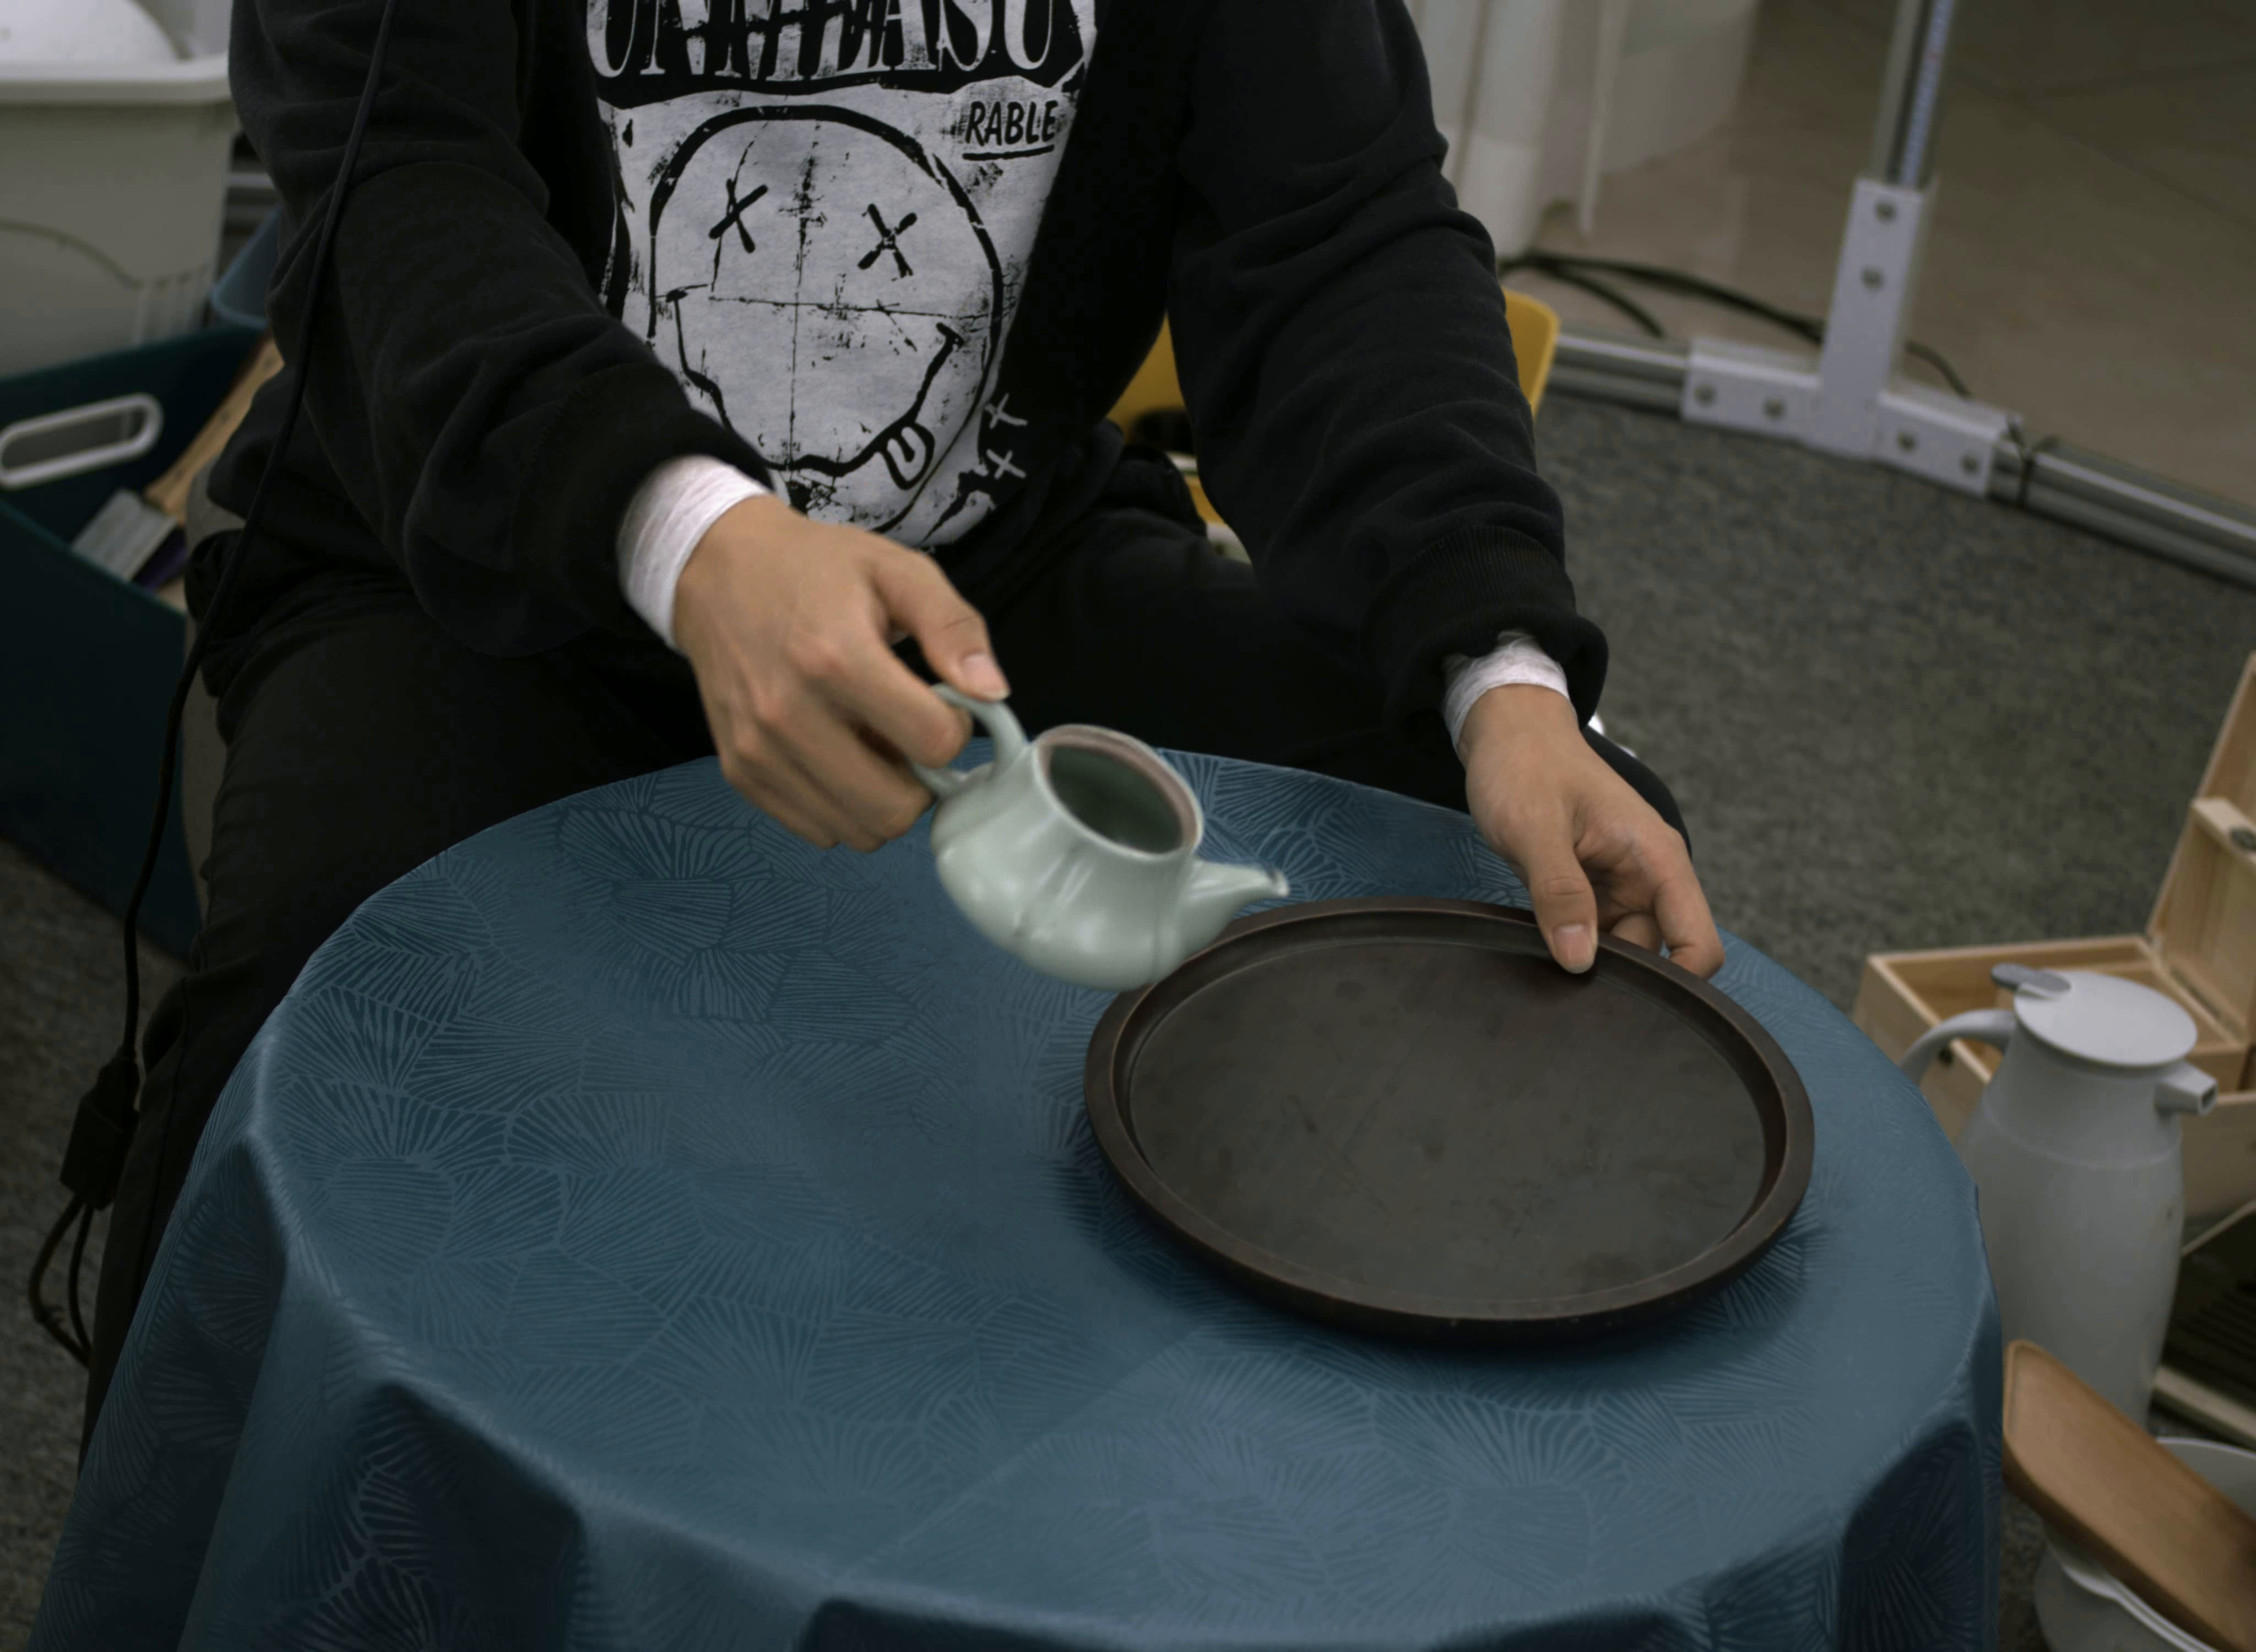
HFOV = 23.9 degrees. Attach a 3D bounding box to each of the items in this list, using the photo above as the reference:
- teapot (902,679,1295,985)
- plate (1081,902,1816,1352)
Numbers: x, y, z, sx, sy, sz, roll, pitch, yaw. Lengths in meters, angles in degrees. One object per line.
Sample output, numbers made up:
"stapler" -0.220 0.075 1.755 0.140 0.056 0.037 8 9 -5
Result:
"teapot" -0.017 0.002 1.741 0.136 0.061 0.096 31 34 -5
"plate" 0.109 0.101 1.827 0.254 0.029 0.256 3 33 -2
